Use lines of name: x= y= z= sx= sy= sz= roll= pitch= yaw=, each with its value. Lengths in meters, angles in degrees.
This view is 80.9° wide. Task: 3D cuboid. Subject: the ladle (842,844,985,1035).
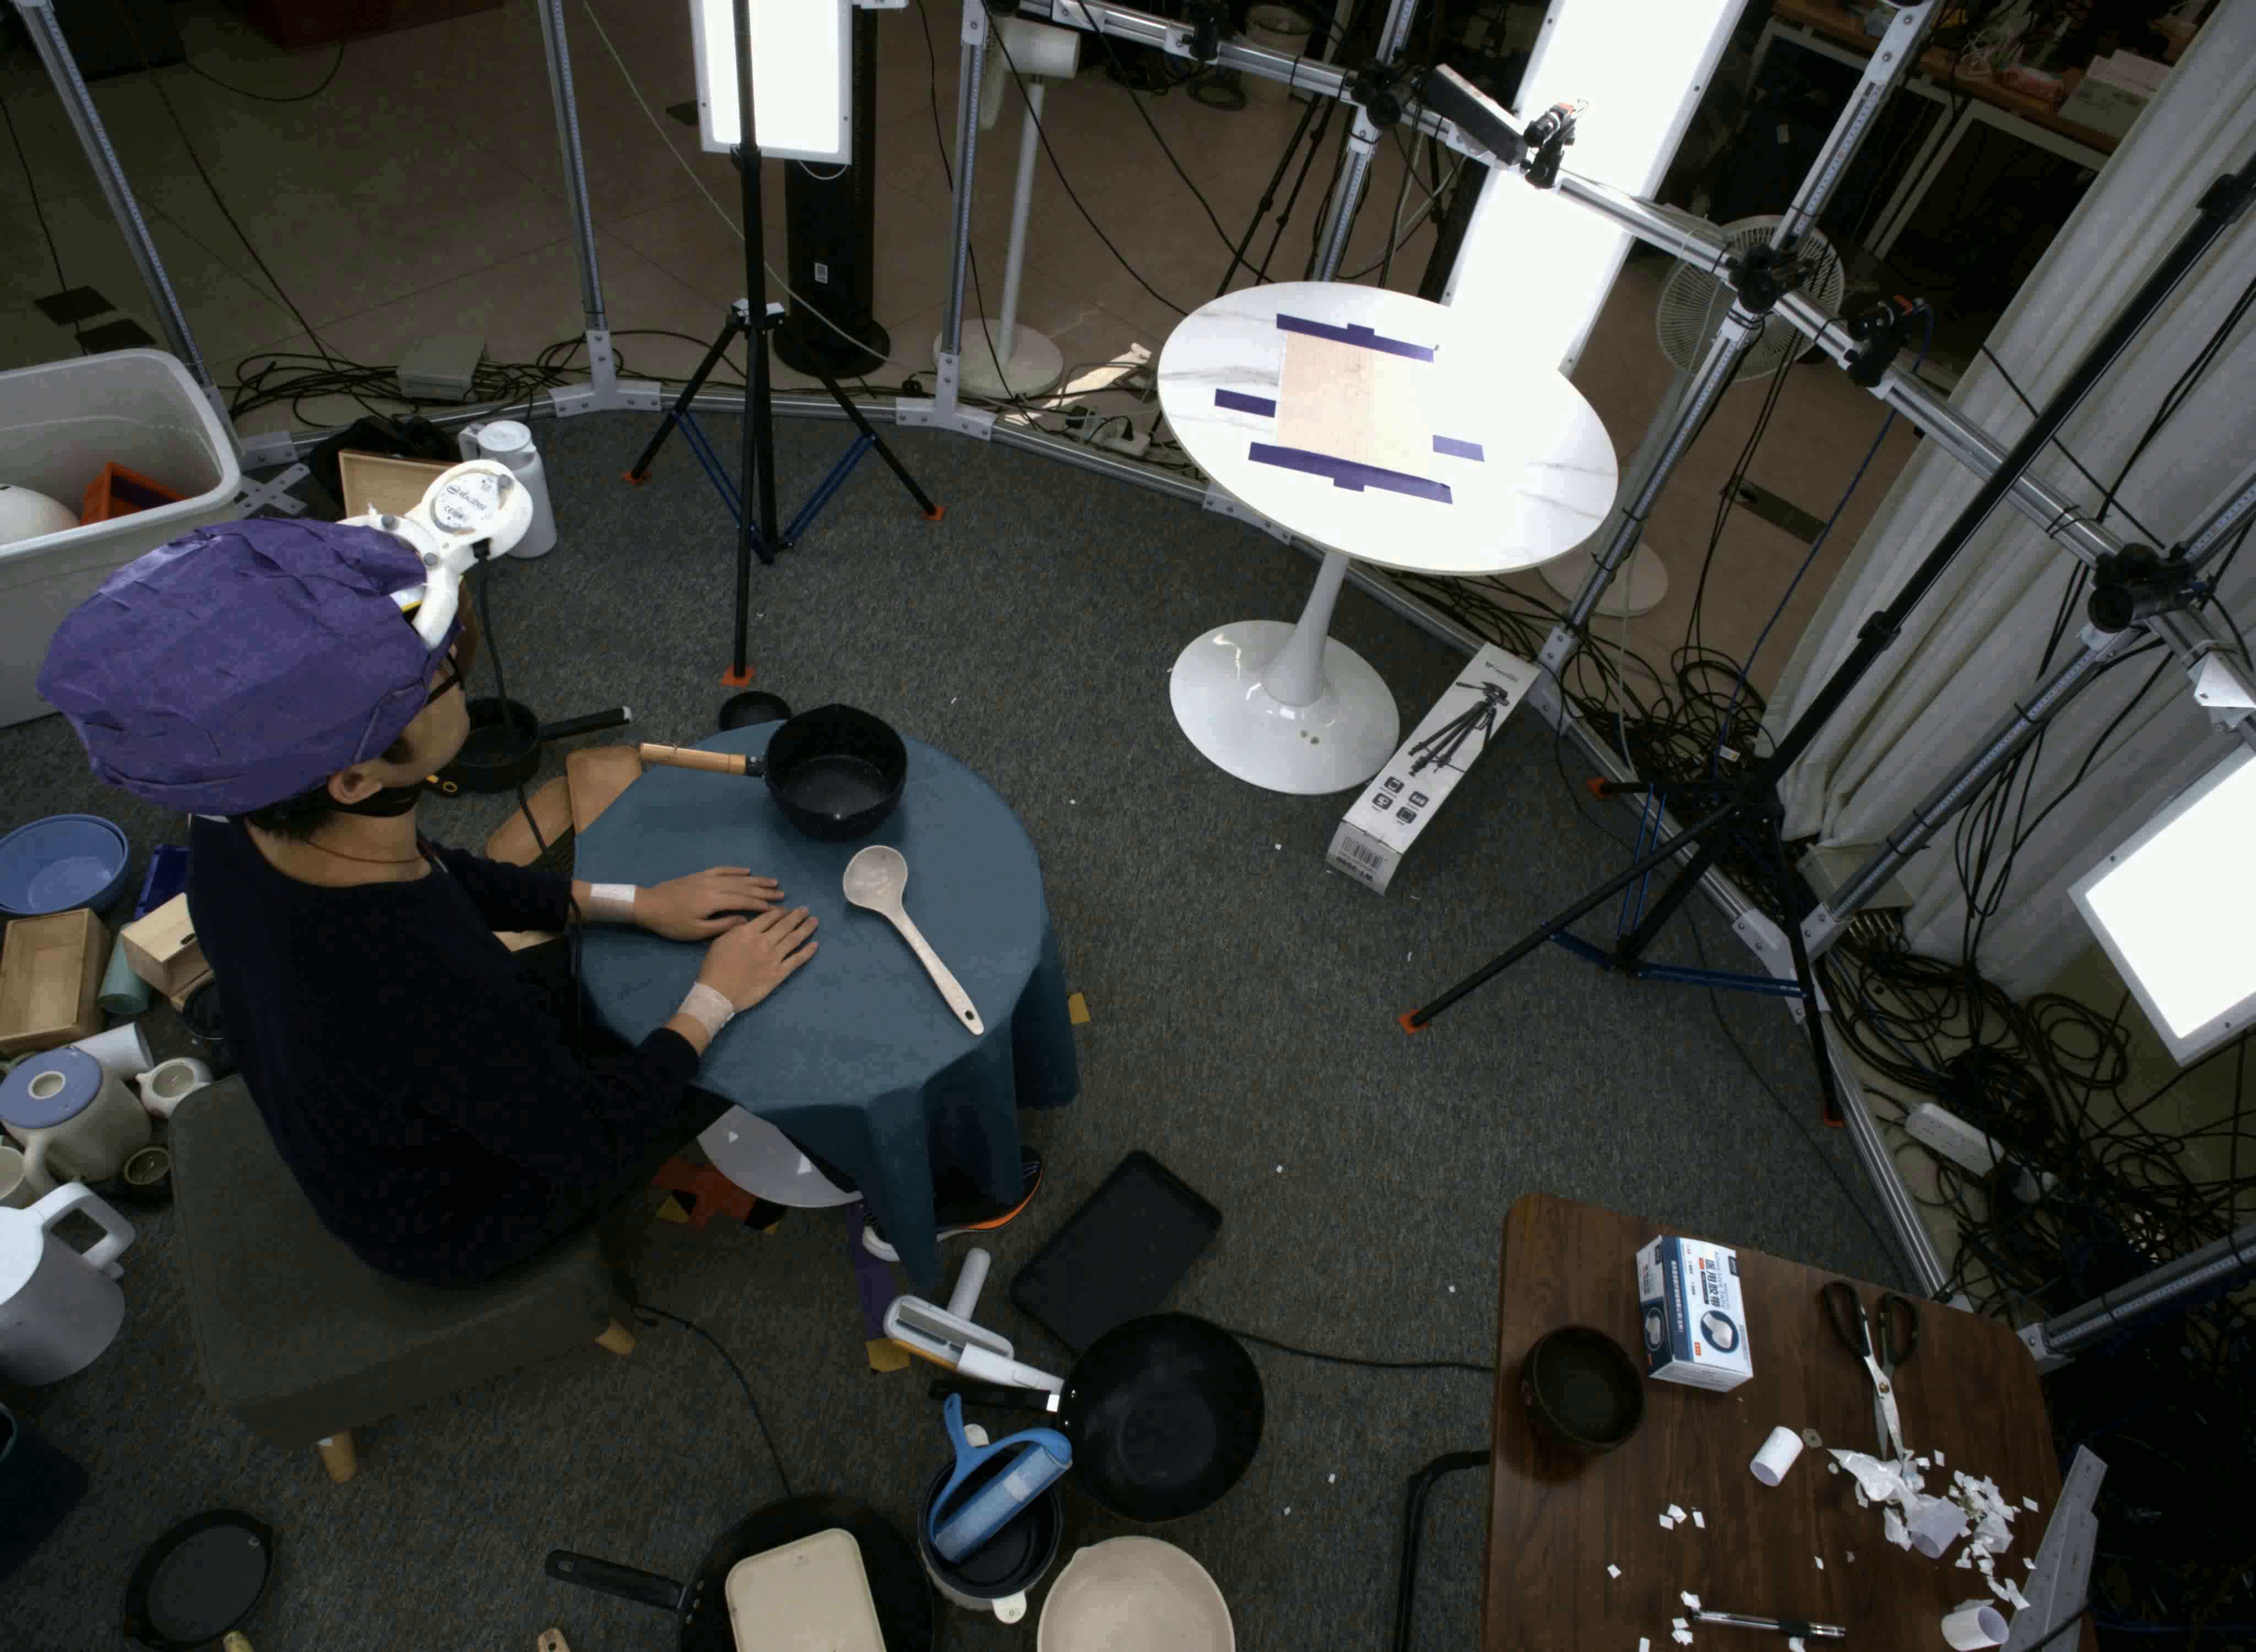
ladle: x=-0.256 y=0.137 z=1.611 sx=0.090 sy=0.071 sz=0.268 roll=-27 pitch=64 yaw=-34

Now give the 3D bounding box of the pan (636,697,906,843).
pan: x=-0.463 y=-0.069 z=1.685 sx=0.344 sy=0.110 sz=0.203 roll=-1 pitch=55 yaw=-17
